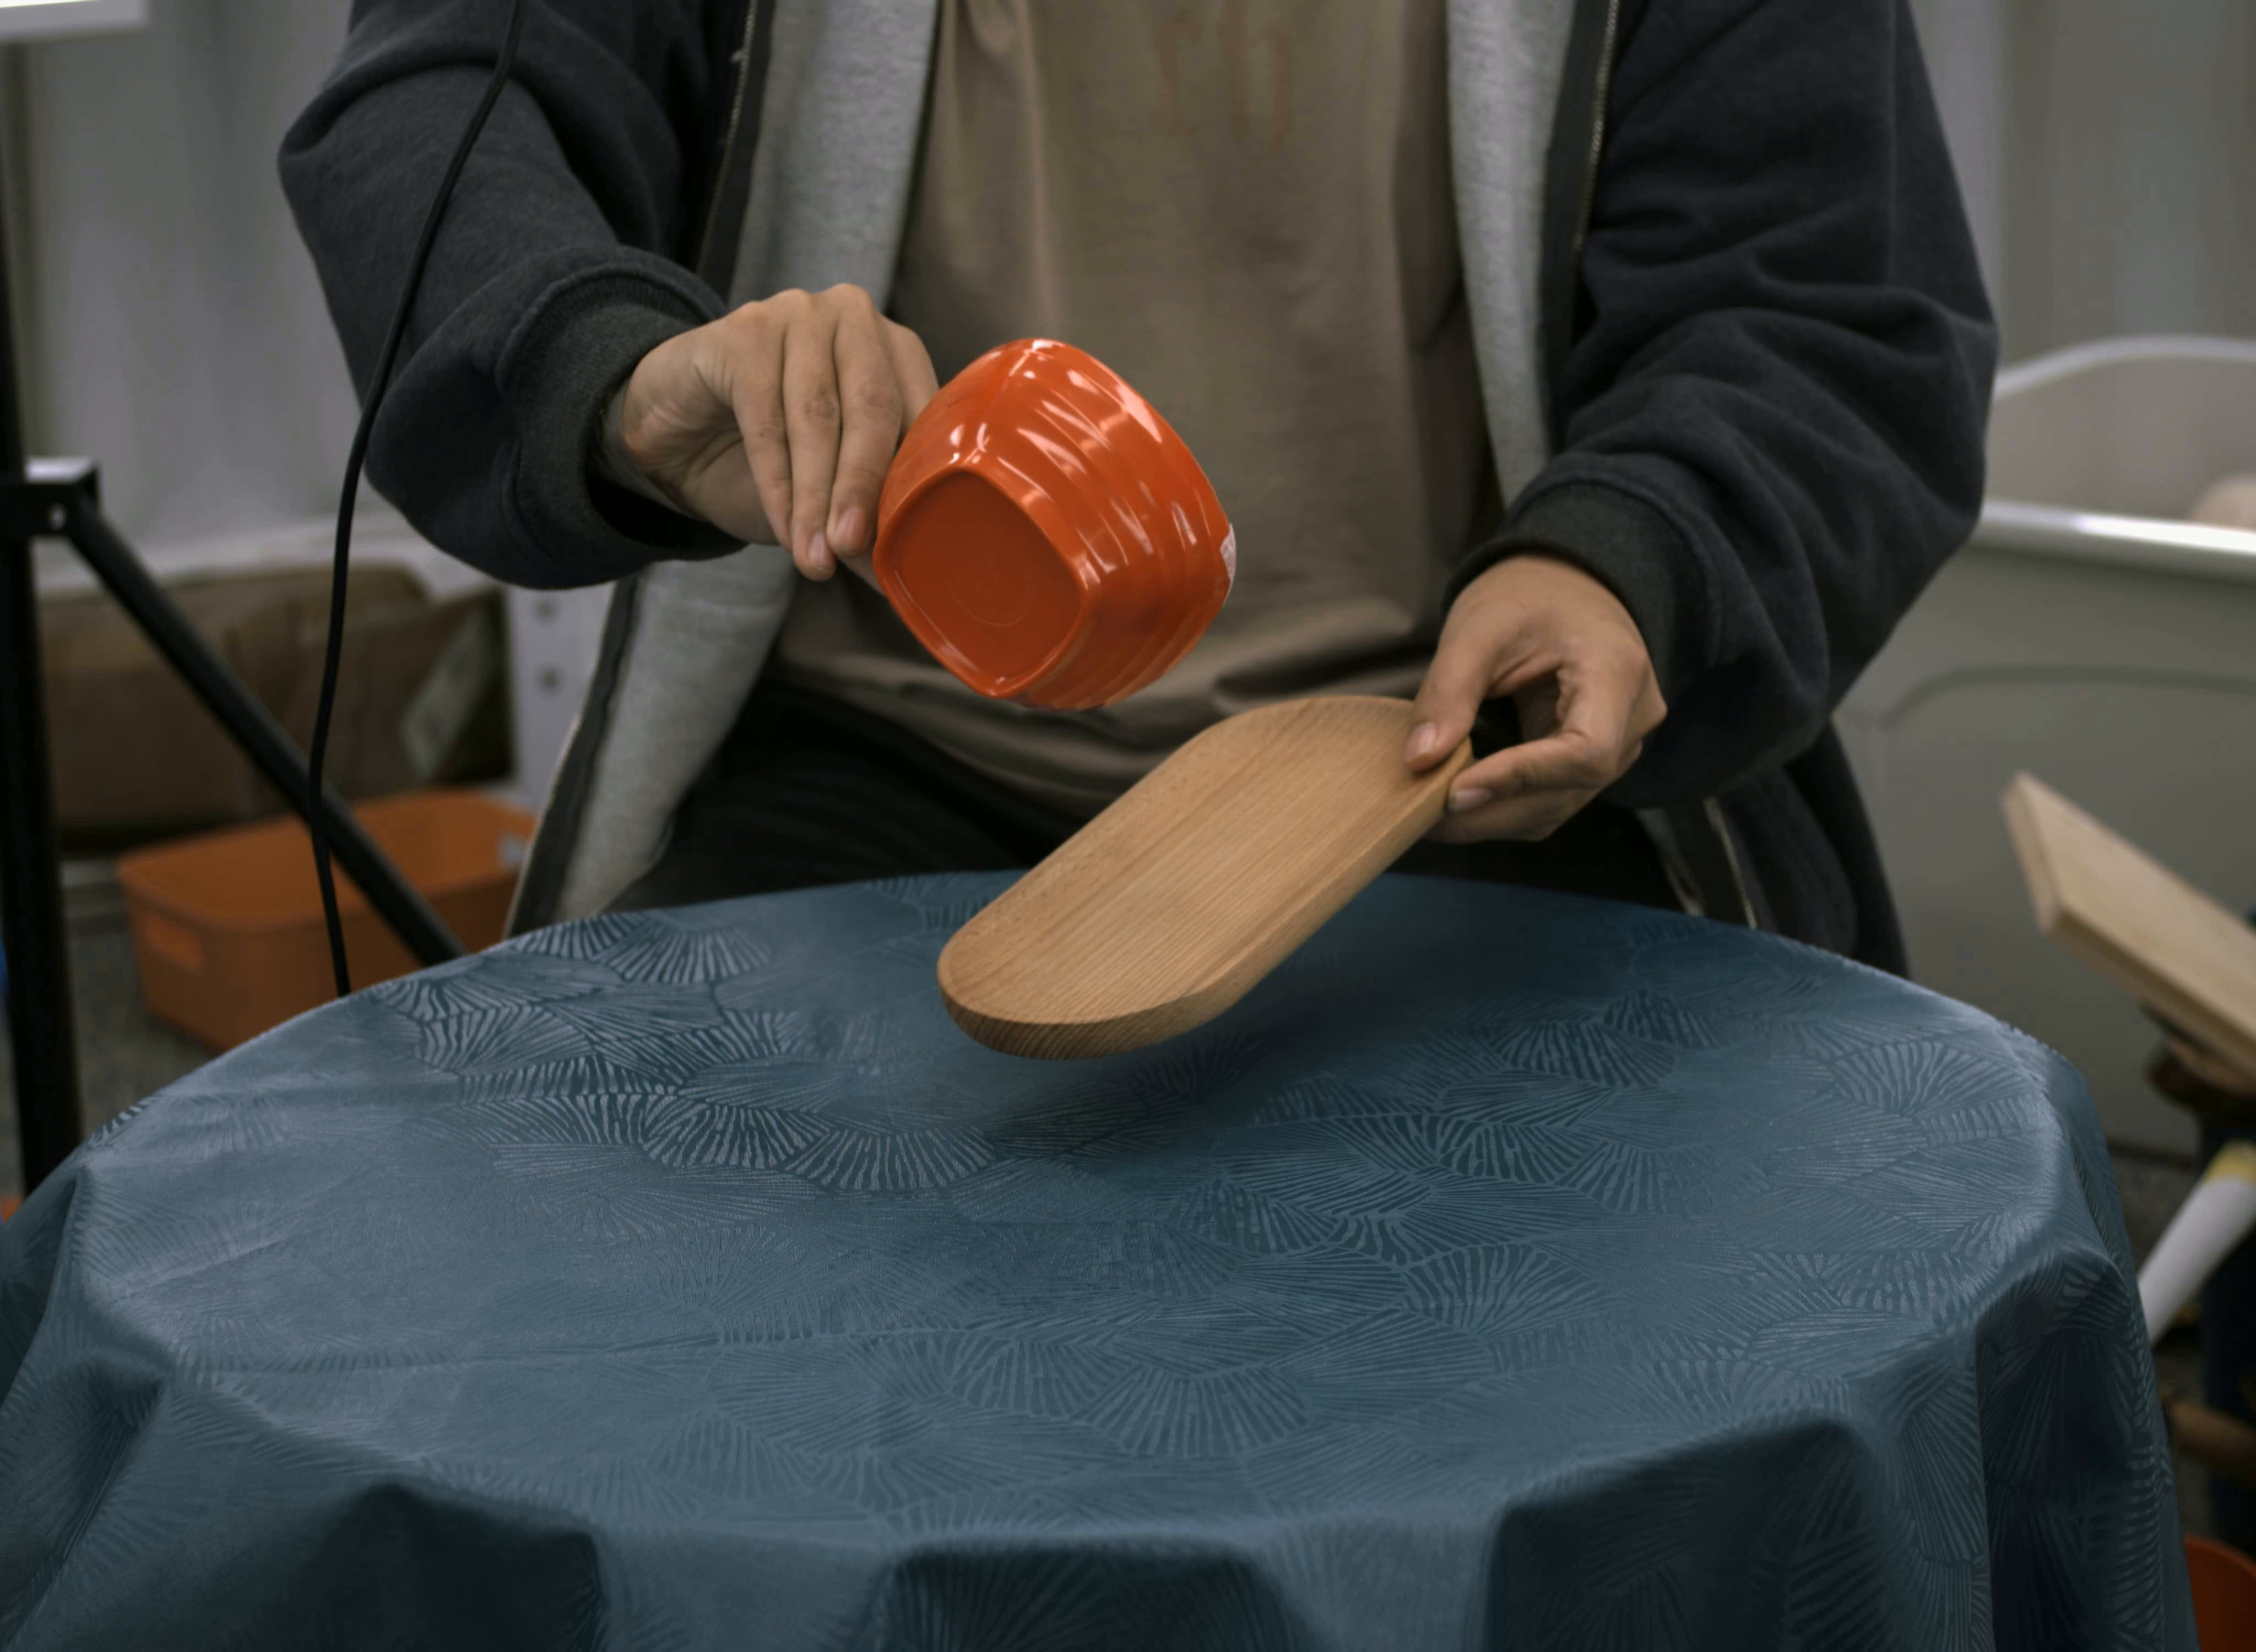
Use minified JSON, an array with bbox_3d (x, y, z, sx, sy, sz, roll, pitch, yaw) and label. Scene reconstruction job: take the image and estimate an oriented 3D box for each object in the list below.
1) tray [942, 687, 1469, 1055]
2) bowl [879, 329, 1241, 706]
[{"bbox_3d":[0.027,0.012,1.668,0.103,0.020,0.228,8,30,32],"label":"tray"},{"bbox_3d":[-0.030,-0.083,1.588,0.121,0.118,0.050,9,30,33],"label":"bowl"}]
